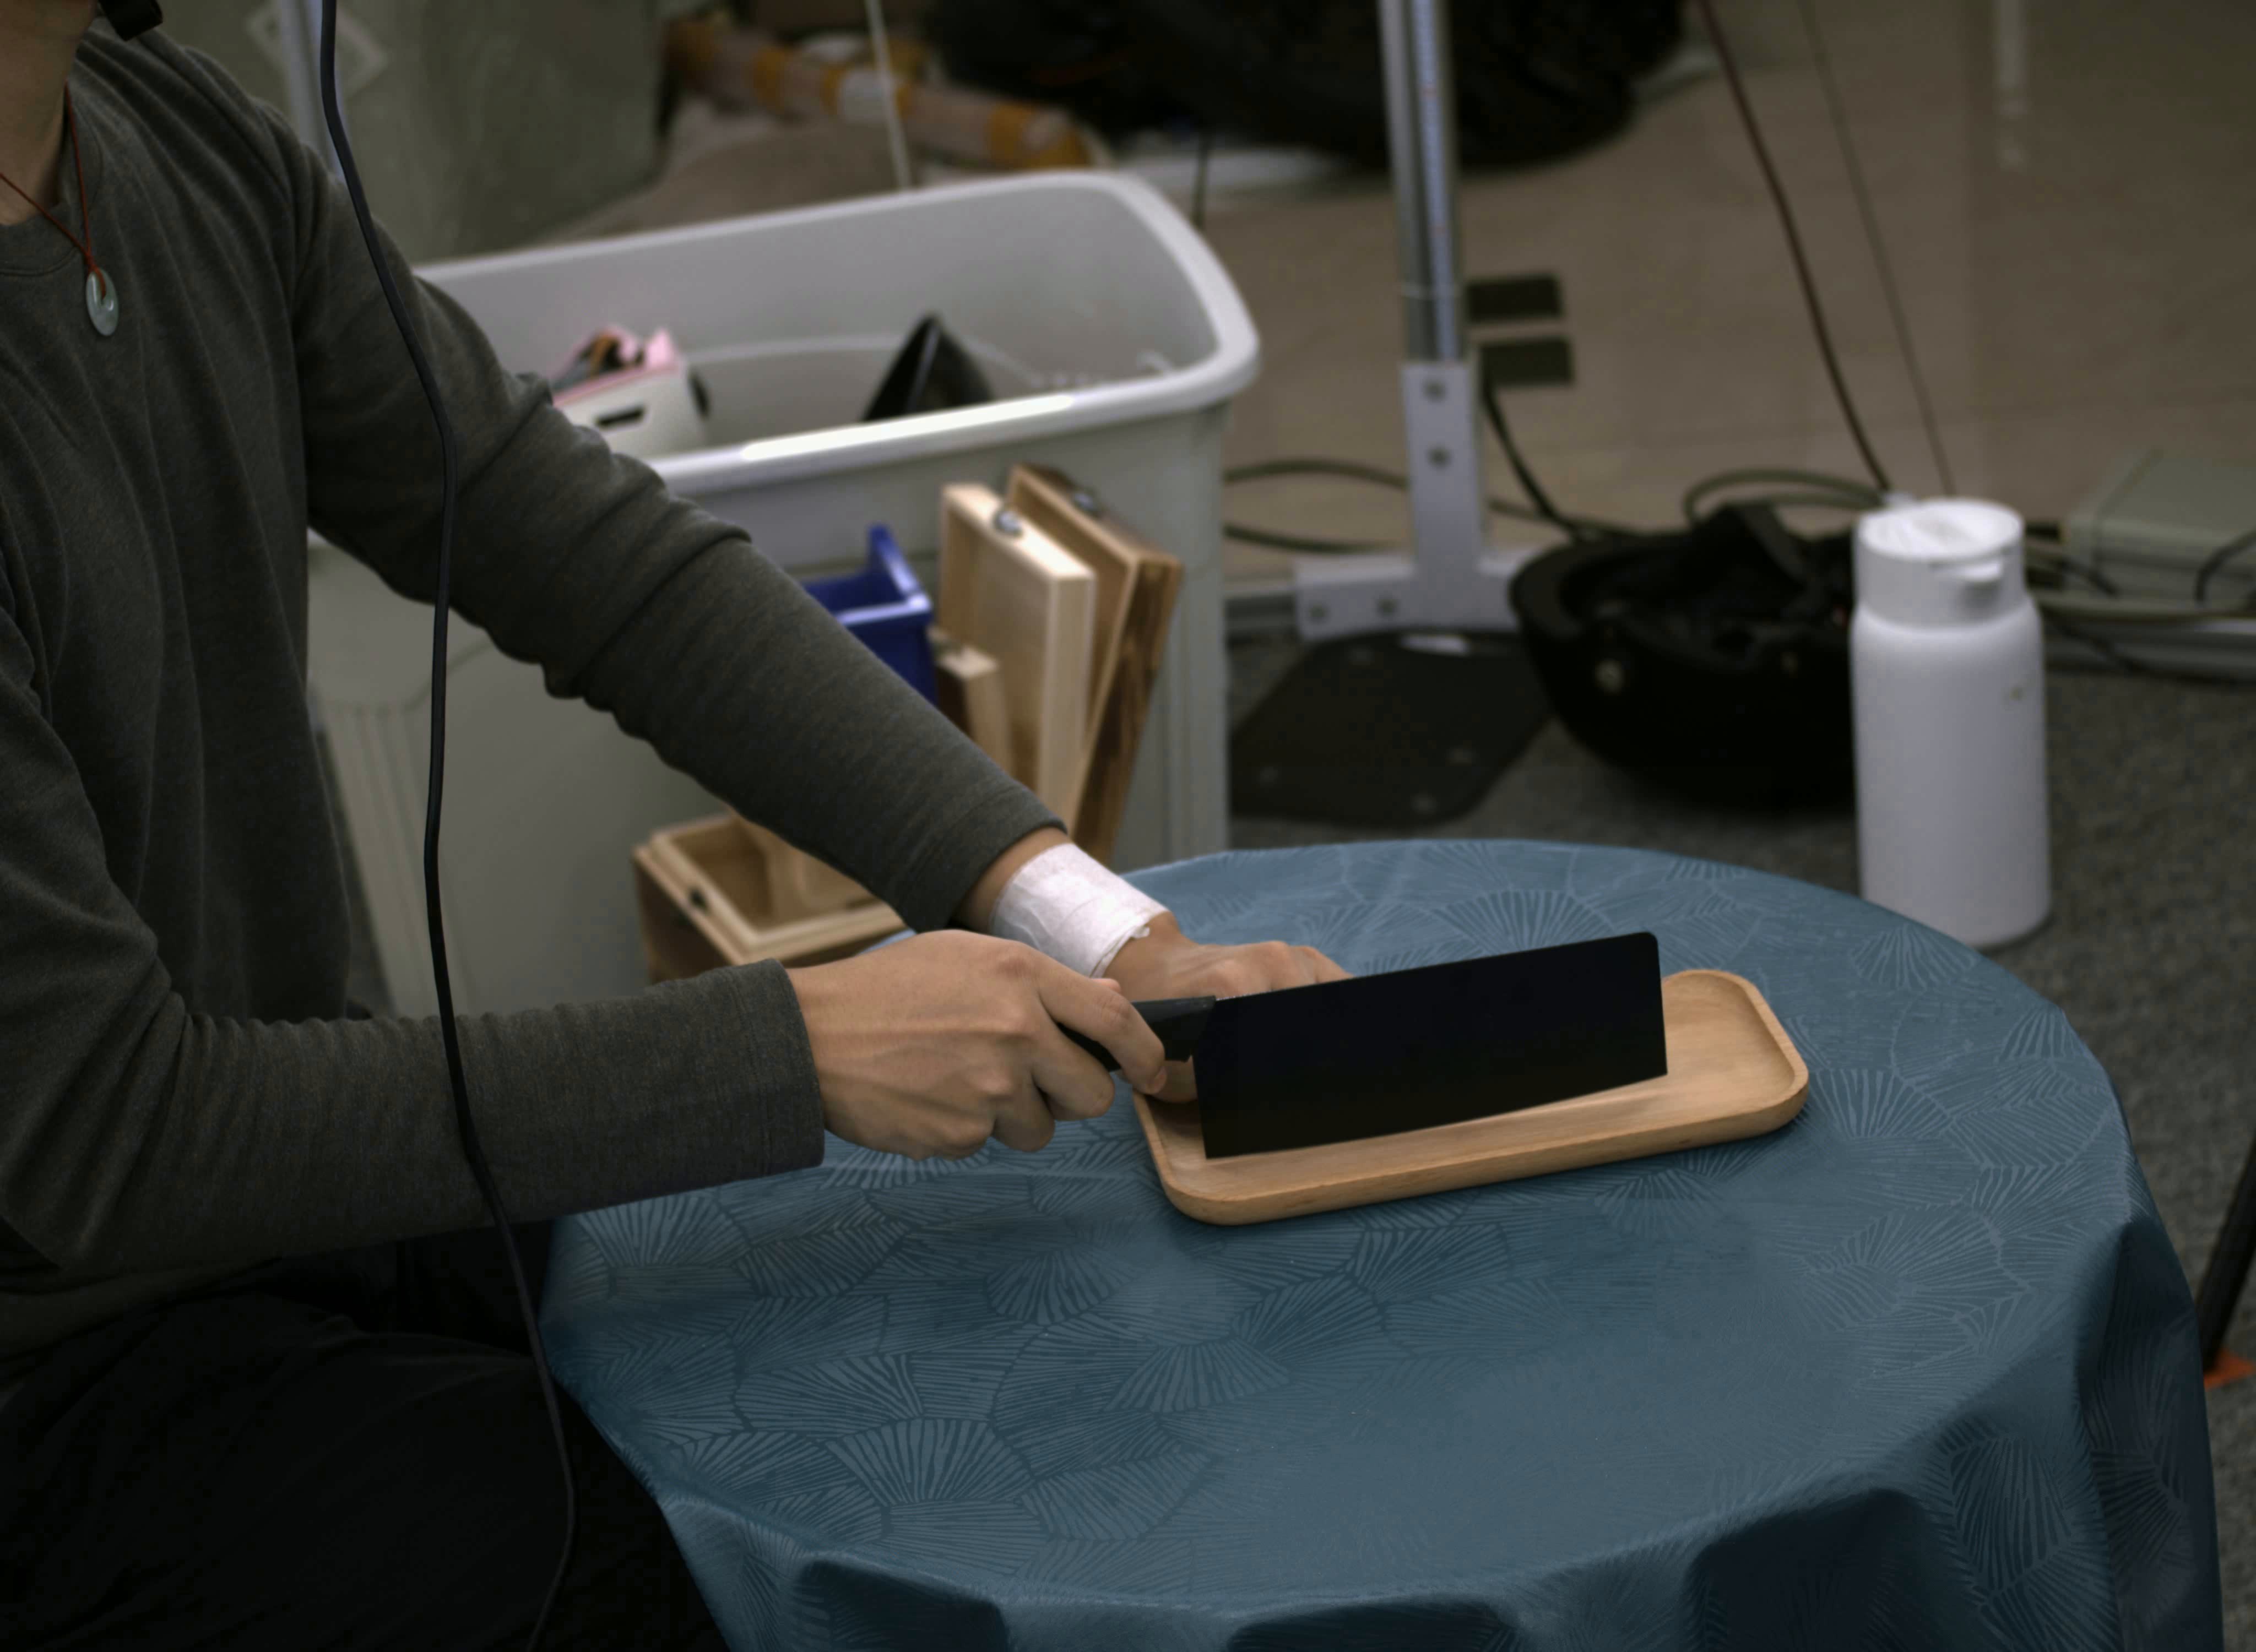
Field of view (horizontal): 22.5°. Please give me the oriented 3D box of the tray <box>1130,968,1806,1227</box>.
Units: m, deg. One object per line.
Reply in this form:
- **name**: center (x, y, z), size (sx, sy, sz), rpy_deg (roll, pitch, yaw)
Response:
- **tray**: center (0.129, 0.104, 2.177), size (0.250, 0.023, 0.129), rpy_deg (-10, 23, -4)

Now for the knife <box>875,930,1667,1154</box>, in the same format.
- **knife**: center (0.055, 0.087, 2.134), size (0.302, 0.082, 0.020), rpy_deg (-4, 22, -6)
